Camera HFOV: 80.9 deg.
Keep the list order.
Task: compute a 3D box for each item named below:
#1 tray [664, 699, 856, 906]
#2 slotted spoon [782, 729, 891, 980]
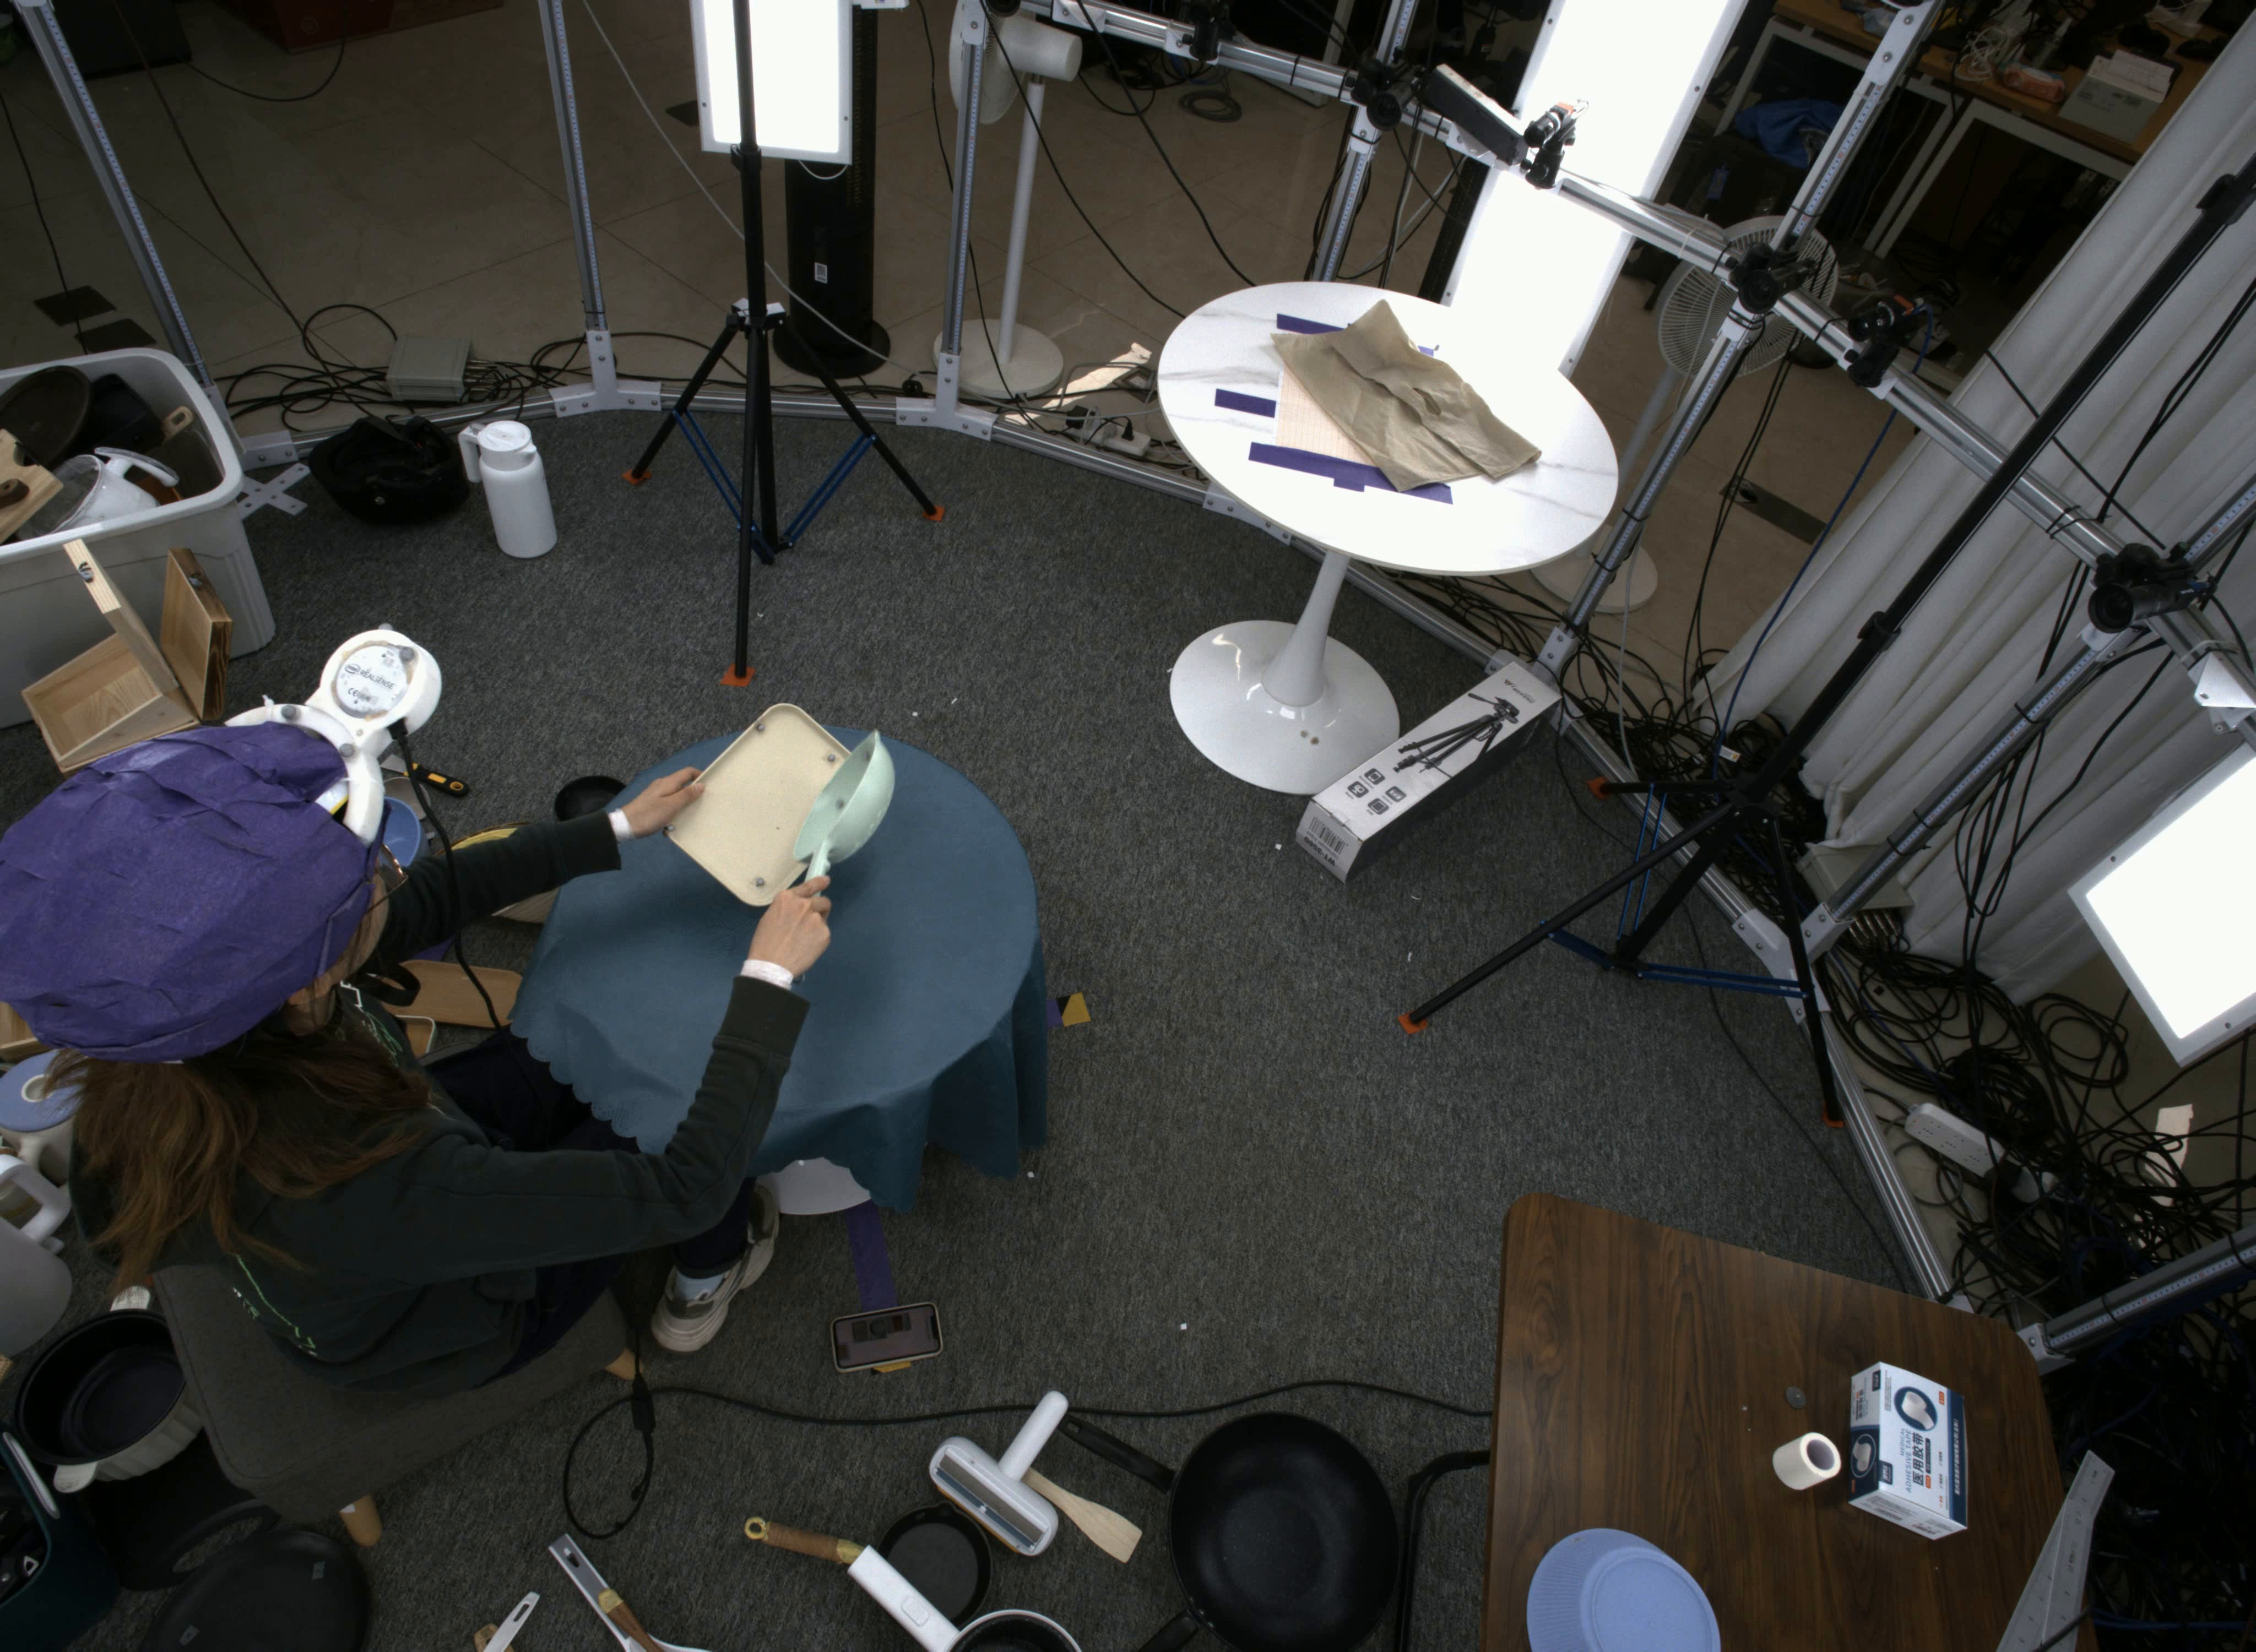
[{"bbox_3d":[-0.439,-0.031,1.595,0.173,0.017,0.239,42,61,-10],"label":"tray"},{"bbox_3d":[-0.336,0.032,1.428,0.077,0.169,0.353,37,30,-16],"label":"slotted spoon"}]
